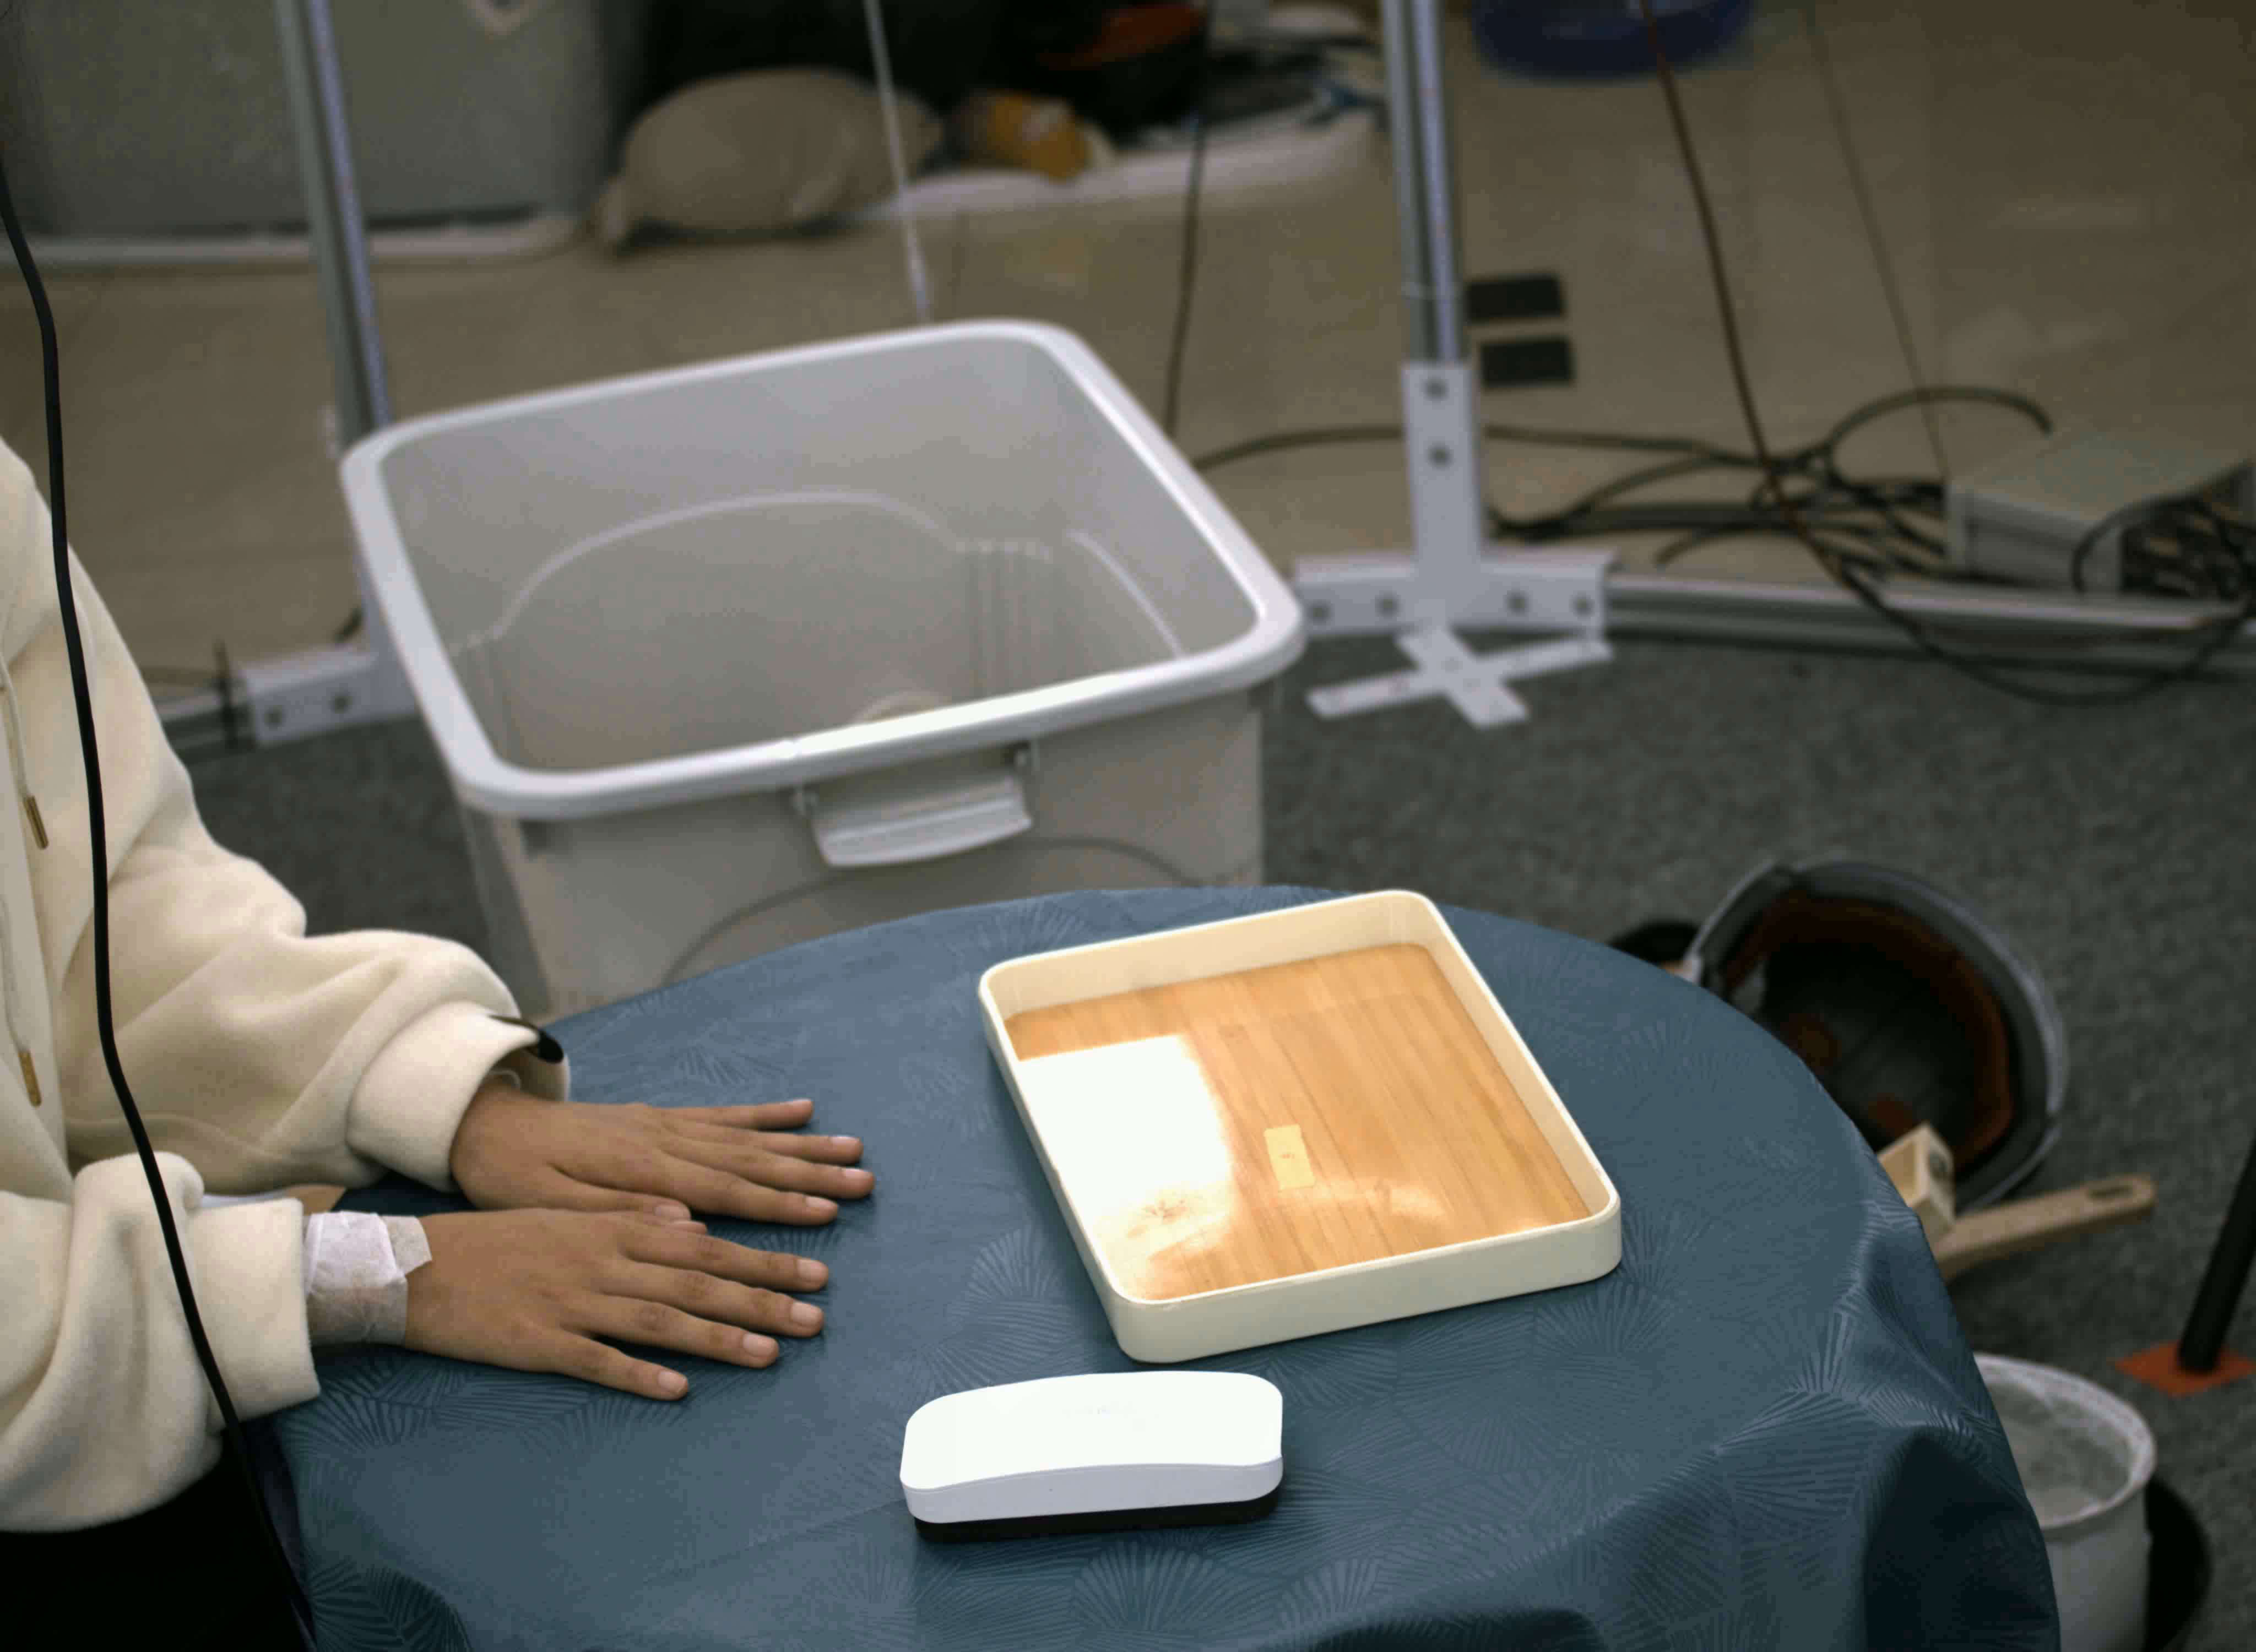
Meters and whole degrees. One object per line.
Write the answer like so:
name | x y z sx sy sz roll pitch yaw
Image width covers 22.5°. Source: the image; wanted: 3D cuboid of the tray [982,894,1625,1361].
tray | 0.061 0.110 2.163 0.191 0.028 0.296 -10 25 -8

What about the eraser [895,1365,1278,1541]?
eraser | -0.013 0.215 1.951 0.131 0.035 0.062 -3 26 5
